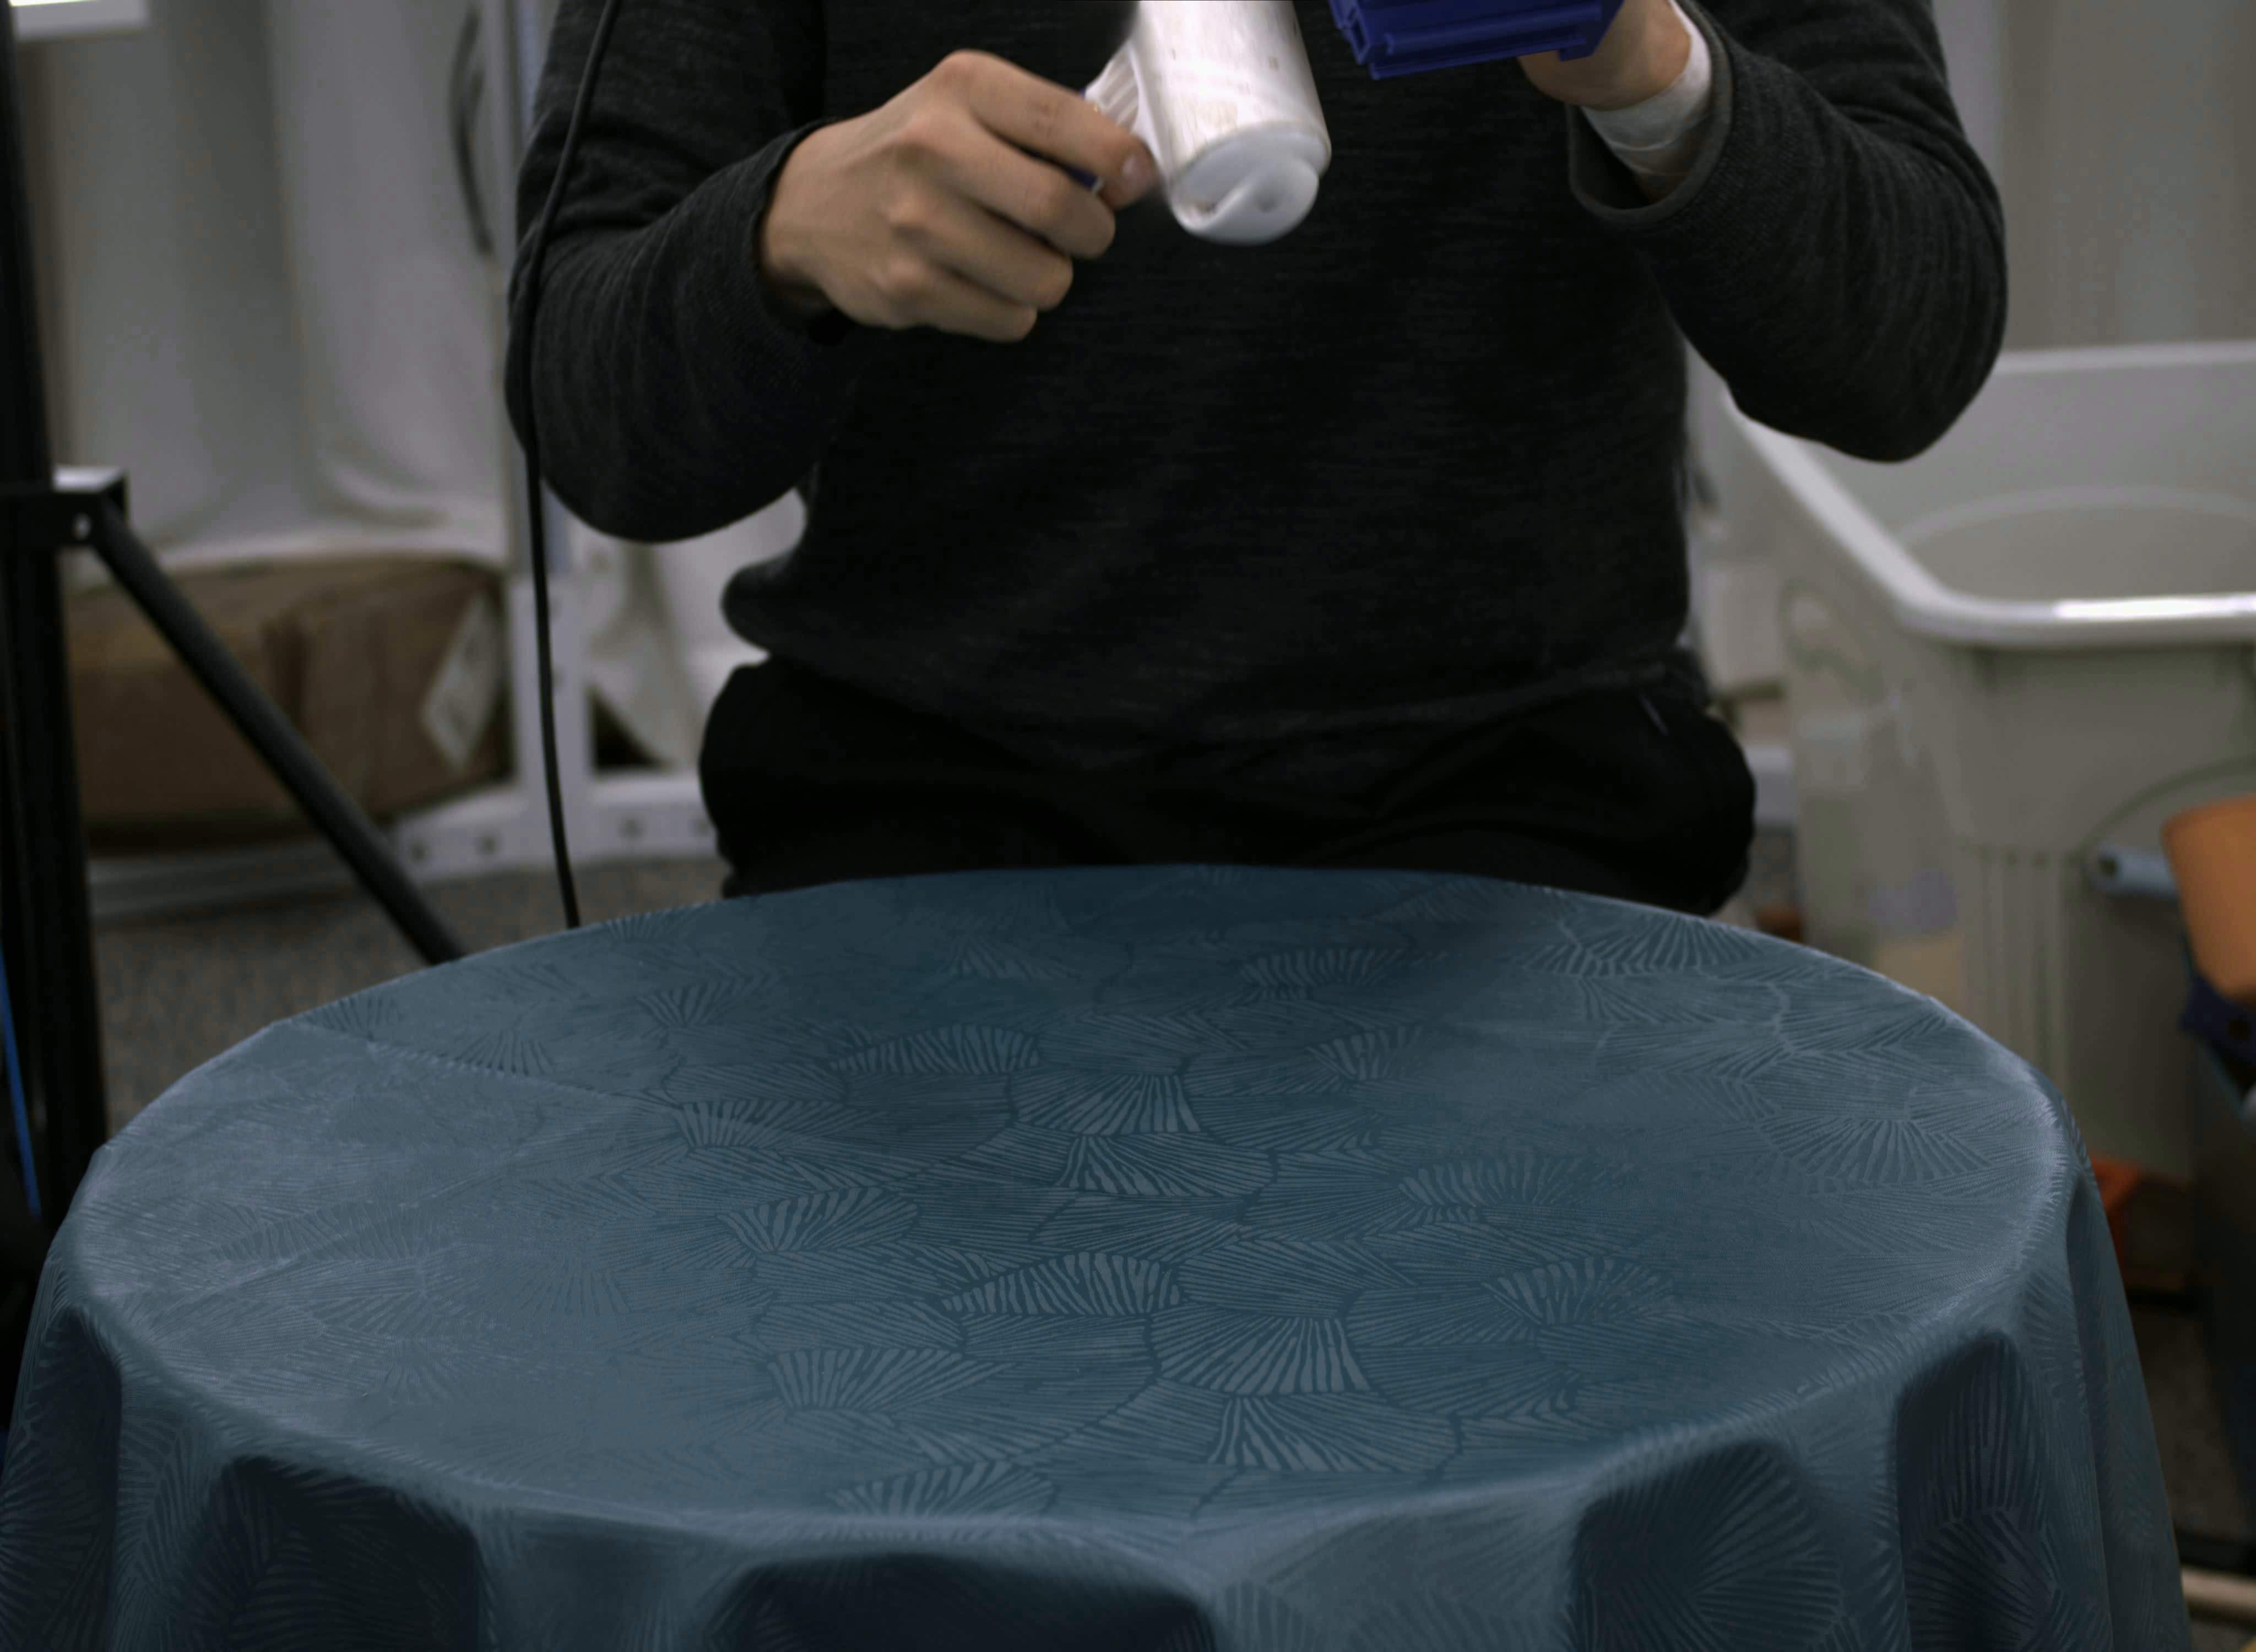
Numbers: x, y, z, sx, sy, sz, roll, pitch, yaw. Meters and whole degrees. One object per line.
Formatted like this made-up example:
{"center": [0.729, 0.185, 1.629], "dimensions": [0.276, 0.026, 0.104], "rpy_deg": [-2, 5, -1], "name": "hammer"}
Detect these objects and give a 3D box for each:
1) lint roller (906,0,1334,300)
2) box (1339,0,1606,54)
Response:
{"center": [-0.018, -0.216, 1.623], "dimensions": [0.183, 0.135, 0.049], "rpy_deg": [-31, -29, 36], "name": "lint roller"}
{"center": [0.104, -0.307, 1.489], "dimensions": [0.080, 0.126, 0.180], "rpy_deg": [-9, -19, -18], "name": "box"}
